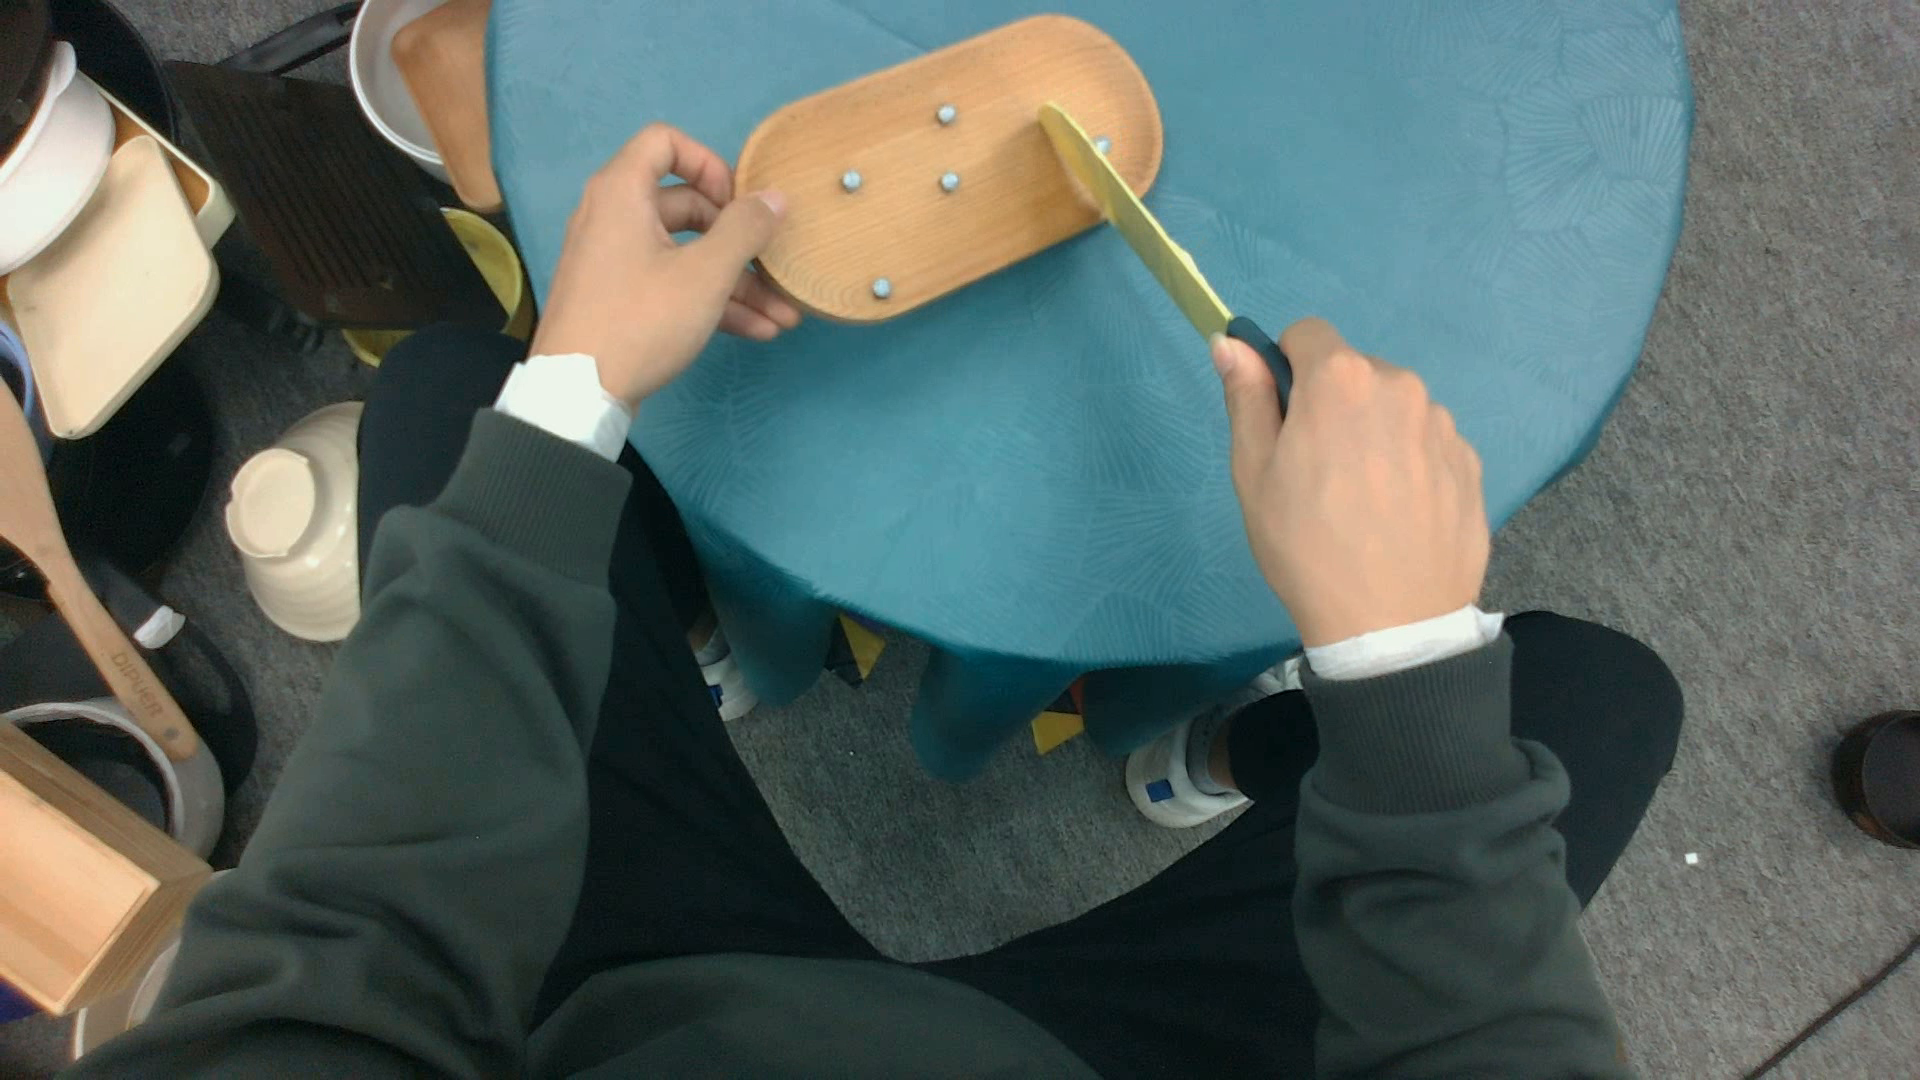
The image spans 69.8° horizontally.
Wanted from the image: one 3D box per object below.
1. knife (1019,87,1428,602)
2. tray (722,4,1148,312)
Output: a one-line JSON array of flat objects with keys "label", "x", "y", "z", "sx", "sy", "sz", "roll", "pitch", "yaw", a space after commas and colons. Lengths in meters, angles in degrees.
[{"label": "knife", "x": 0.101, "y": -0.091, "z": 0.584, "sx": 0.027, "sy": 0.081, "sz": 0.290, "roll": -35, "pitch": 70, "yaw": 5}, {"label": "tray", "x": -0.005, "y": -0.177, "z": 0.631, "sx": 0.232, "sy": 0.020, "sz": 0.101, "roll": -31, "pitch": 95, "yaw": -30}]
